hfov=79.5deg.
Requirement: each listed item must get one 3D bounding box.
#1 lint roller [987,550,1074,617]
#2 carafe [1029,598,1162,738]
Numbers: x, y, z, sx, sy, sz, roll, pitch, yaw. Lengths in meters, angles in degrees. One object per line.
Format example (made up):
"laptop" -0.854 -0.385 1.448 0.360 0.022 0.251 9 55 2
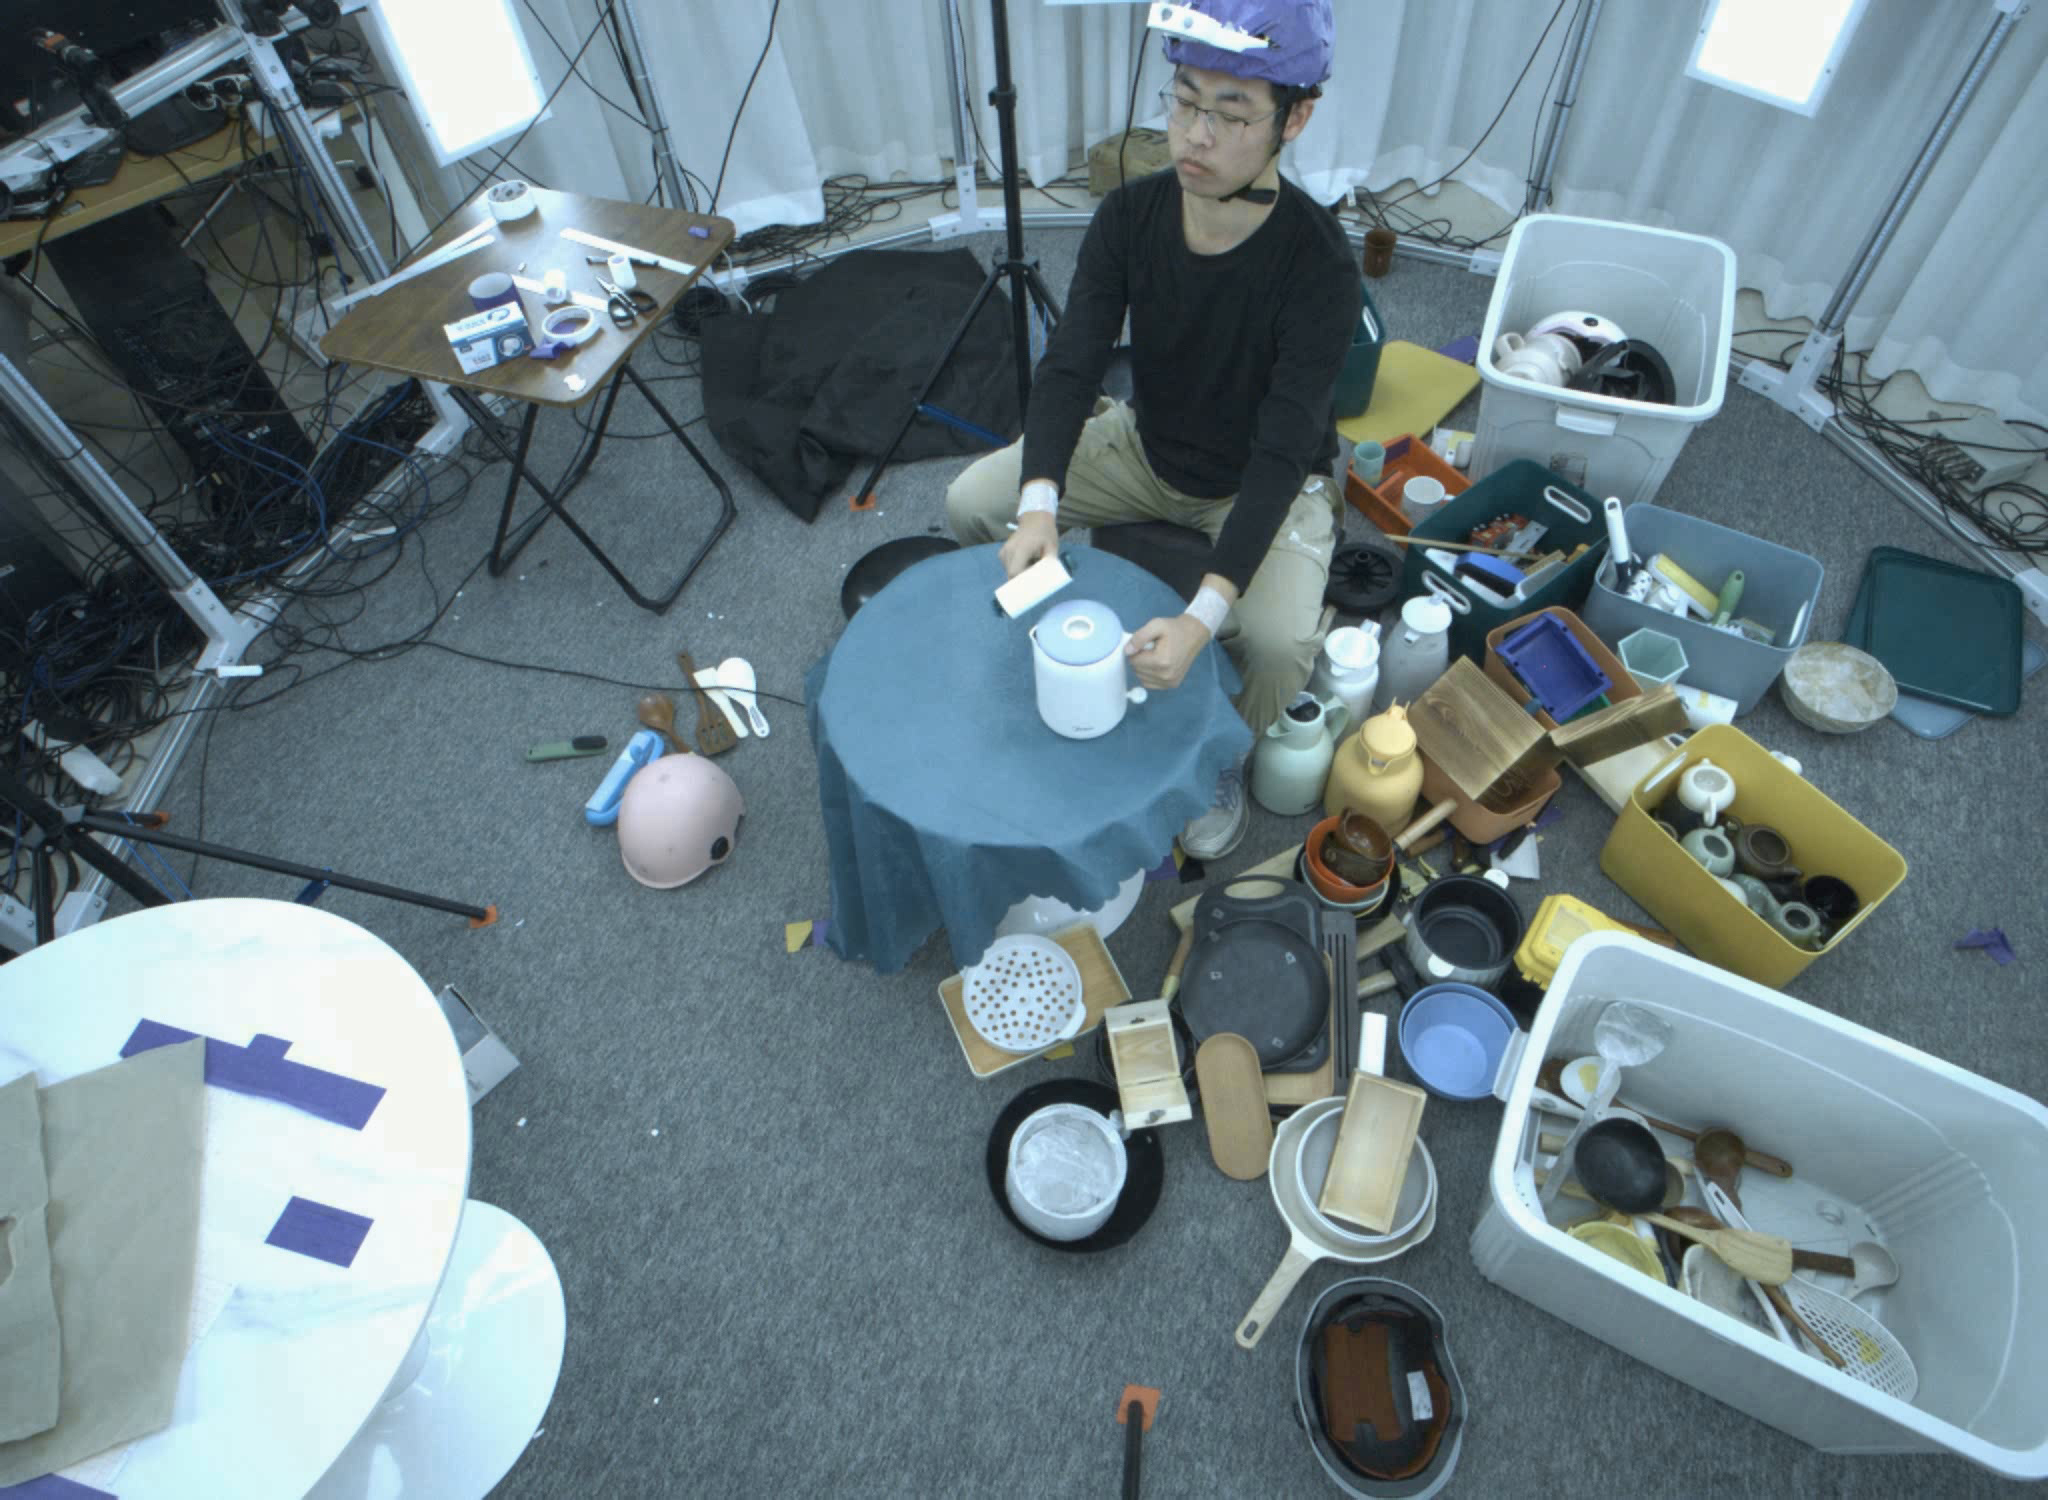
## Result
"lint roller" 0.004 -0.264 1.767 0.134 0.049 0.178 -32 28 11
"carafe" 0.104 -0.117 1.761 0.191 0.184 0.131 -2 55 -1
